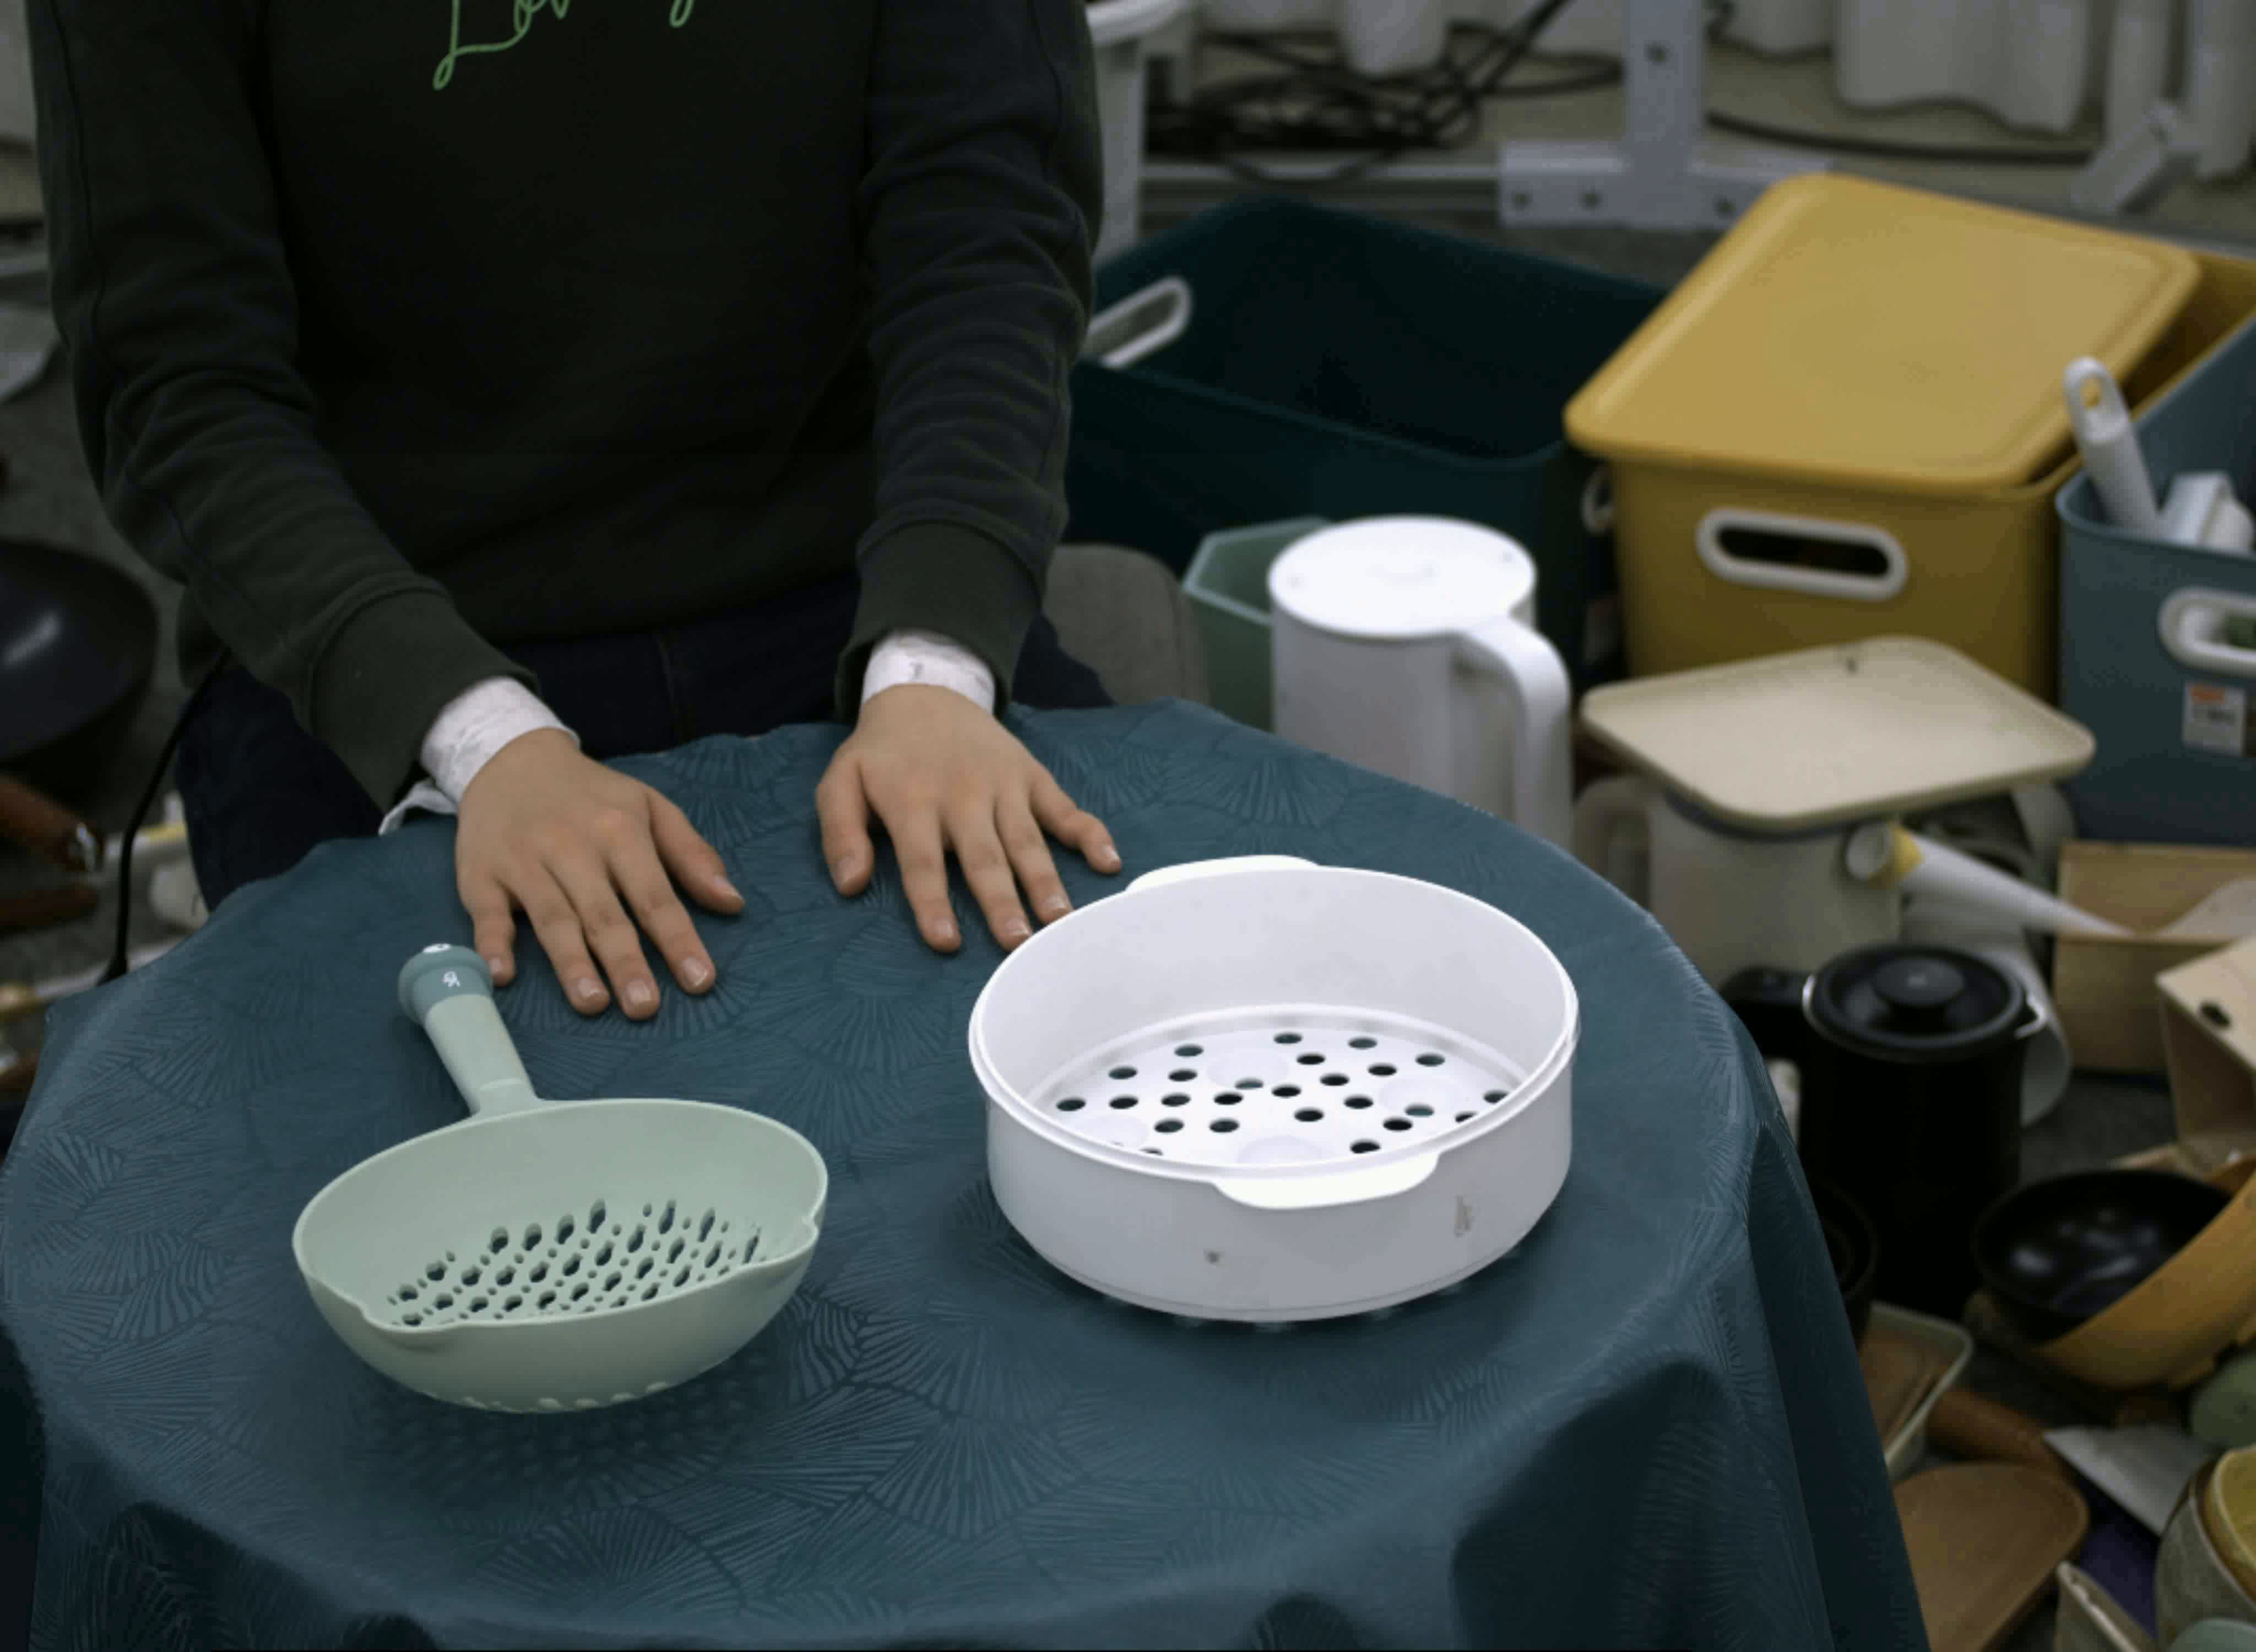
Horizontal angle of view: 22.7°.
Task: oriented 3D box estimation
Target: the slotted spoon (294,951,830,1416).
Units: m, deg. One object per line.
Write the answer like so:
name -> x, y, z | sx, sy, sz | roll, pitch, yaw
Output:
slotted spoon -> -0.202, 0.102, 1.851 | 0.169, 0.074, 0.362 | -9, 27, -13

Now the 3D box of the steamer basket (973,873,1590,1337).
steamer basket -> 0.051, 0.093, 1.843 | 0.201, 0.068, 0.233 | -6, 27, -8
